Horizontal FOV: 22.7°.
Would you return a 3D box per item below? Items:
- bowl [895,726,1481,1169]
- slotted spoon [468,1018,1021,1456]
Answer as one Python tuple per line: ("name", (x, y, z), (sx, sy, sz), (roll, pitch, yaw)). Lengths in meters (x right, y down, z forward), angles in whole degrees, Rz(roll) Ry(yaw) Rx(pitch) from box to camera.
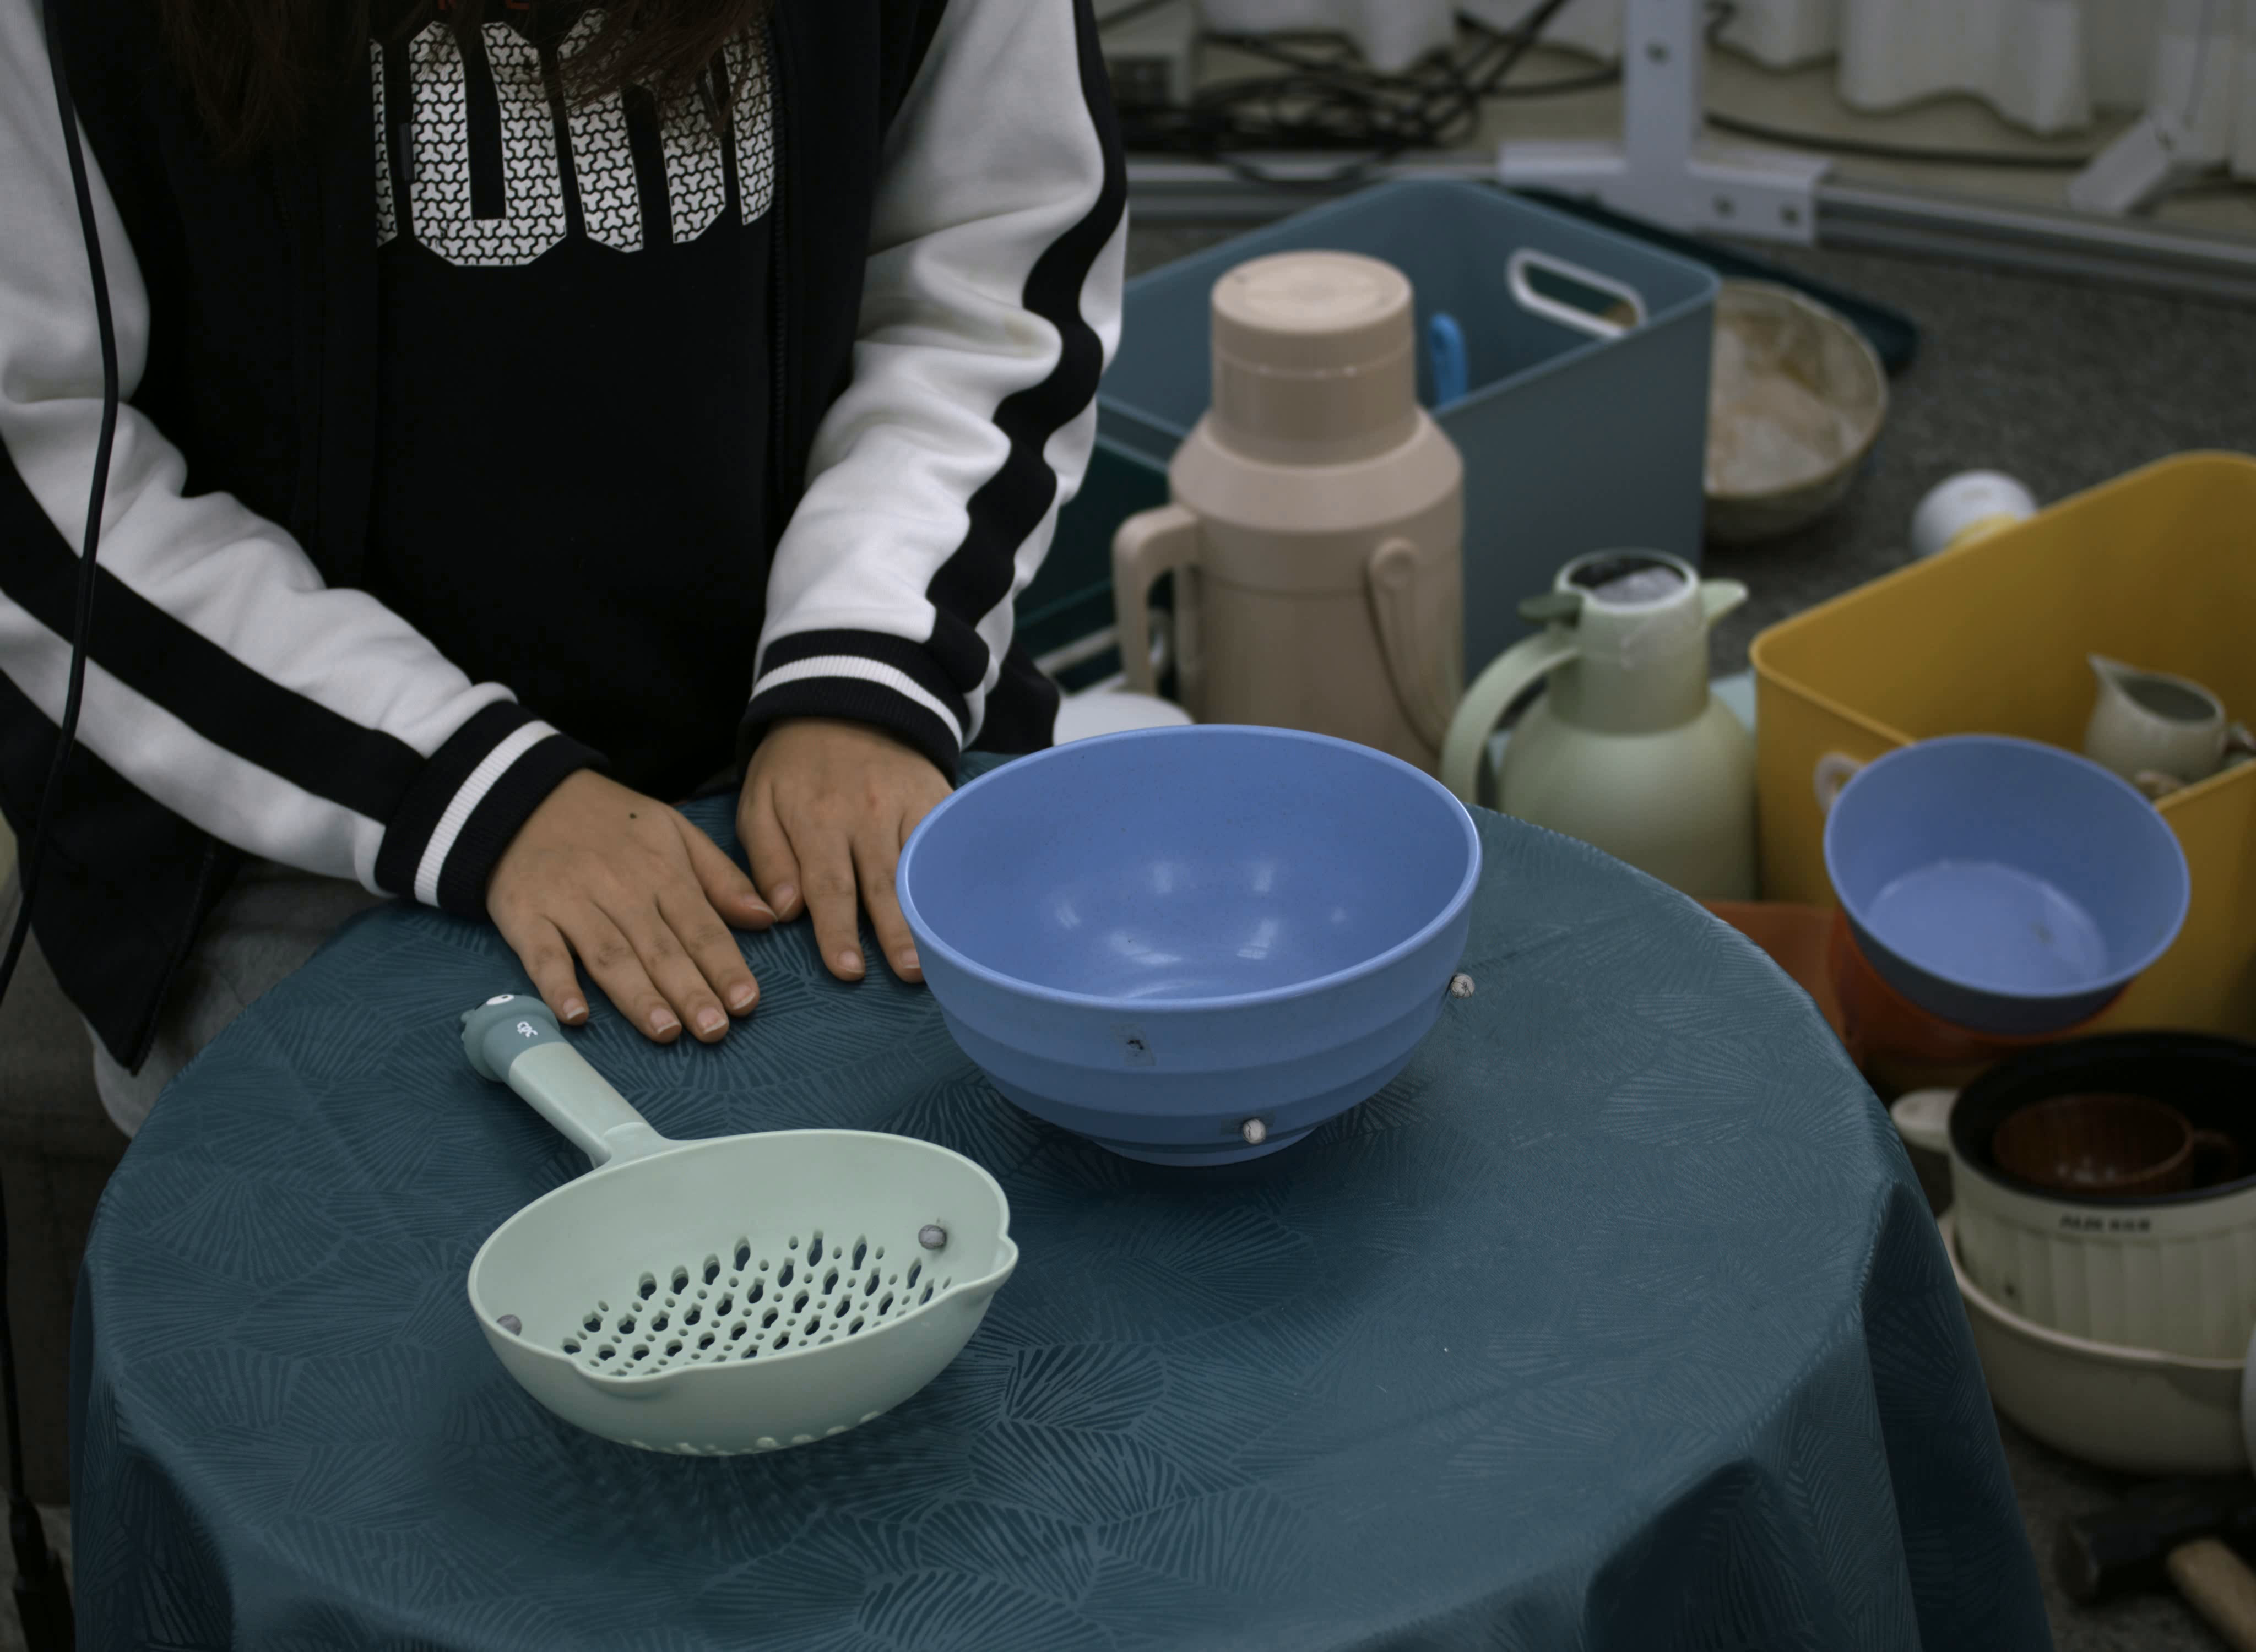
("bowl", (0.023, 0.052, 1.893), (0.195, 0.094, 0.199), (-3, 27, 2))
("slotted spoon", (-0.157, 0.117, 1.825), (0.170, 0.074, 0.361), (-13, 27, -20))
